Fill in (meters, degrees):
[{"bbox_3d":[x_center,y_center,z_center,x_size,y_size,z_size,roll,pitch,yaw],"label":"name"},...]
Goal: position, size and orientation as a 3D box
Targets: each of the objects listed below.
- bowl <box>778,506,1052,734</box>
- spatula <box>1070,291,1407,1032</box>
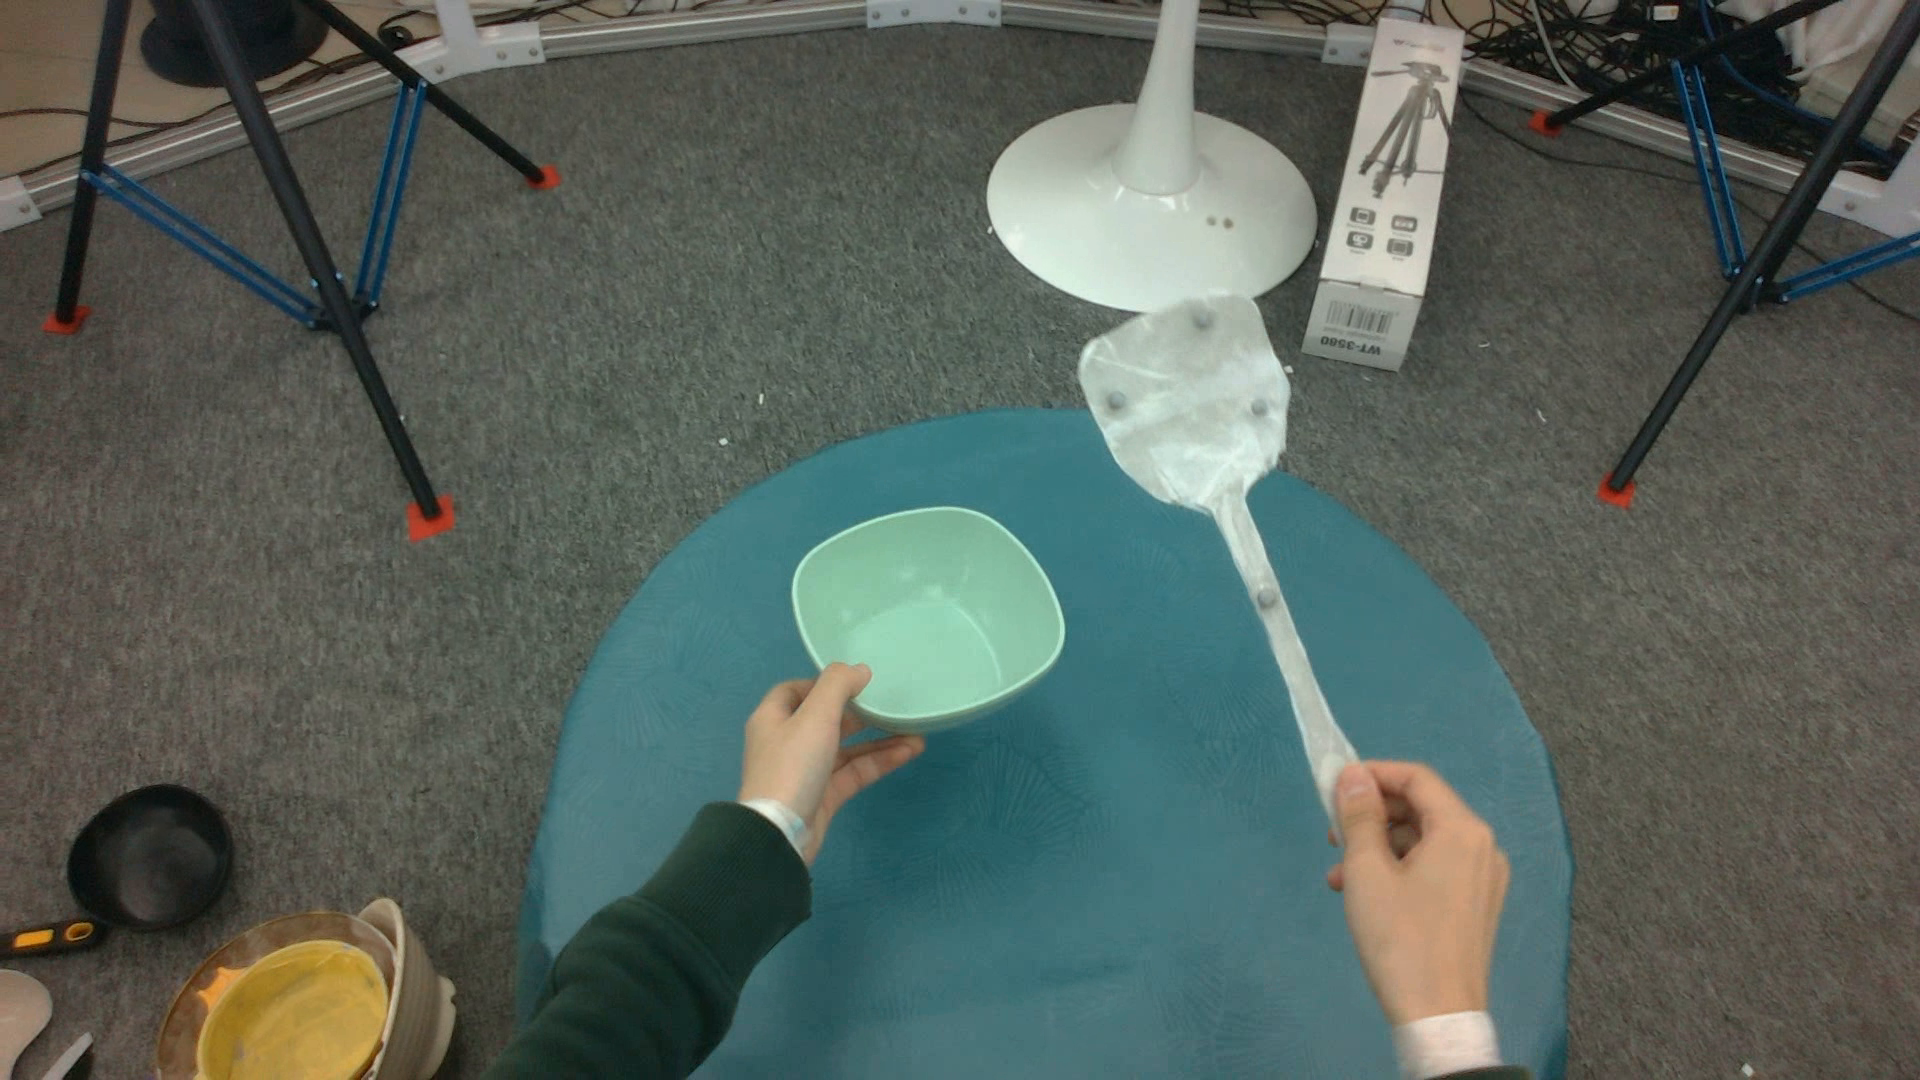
[{"bbox_3d":[-0.026,0.052,0.757,0.151,0.058,0.152,2,47,-2],"label":"bowl"},{"bbox_3d":[0.144,0.042,0.652,0.098,0.044,0.366,-17,64,3],"label":"spatula"}]
